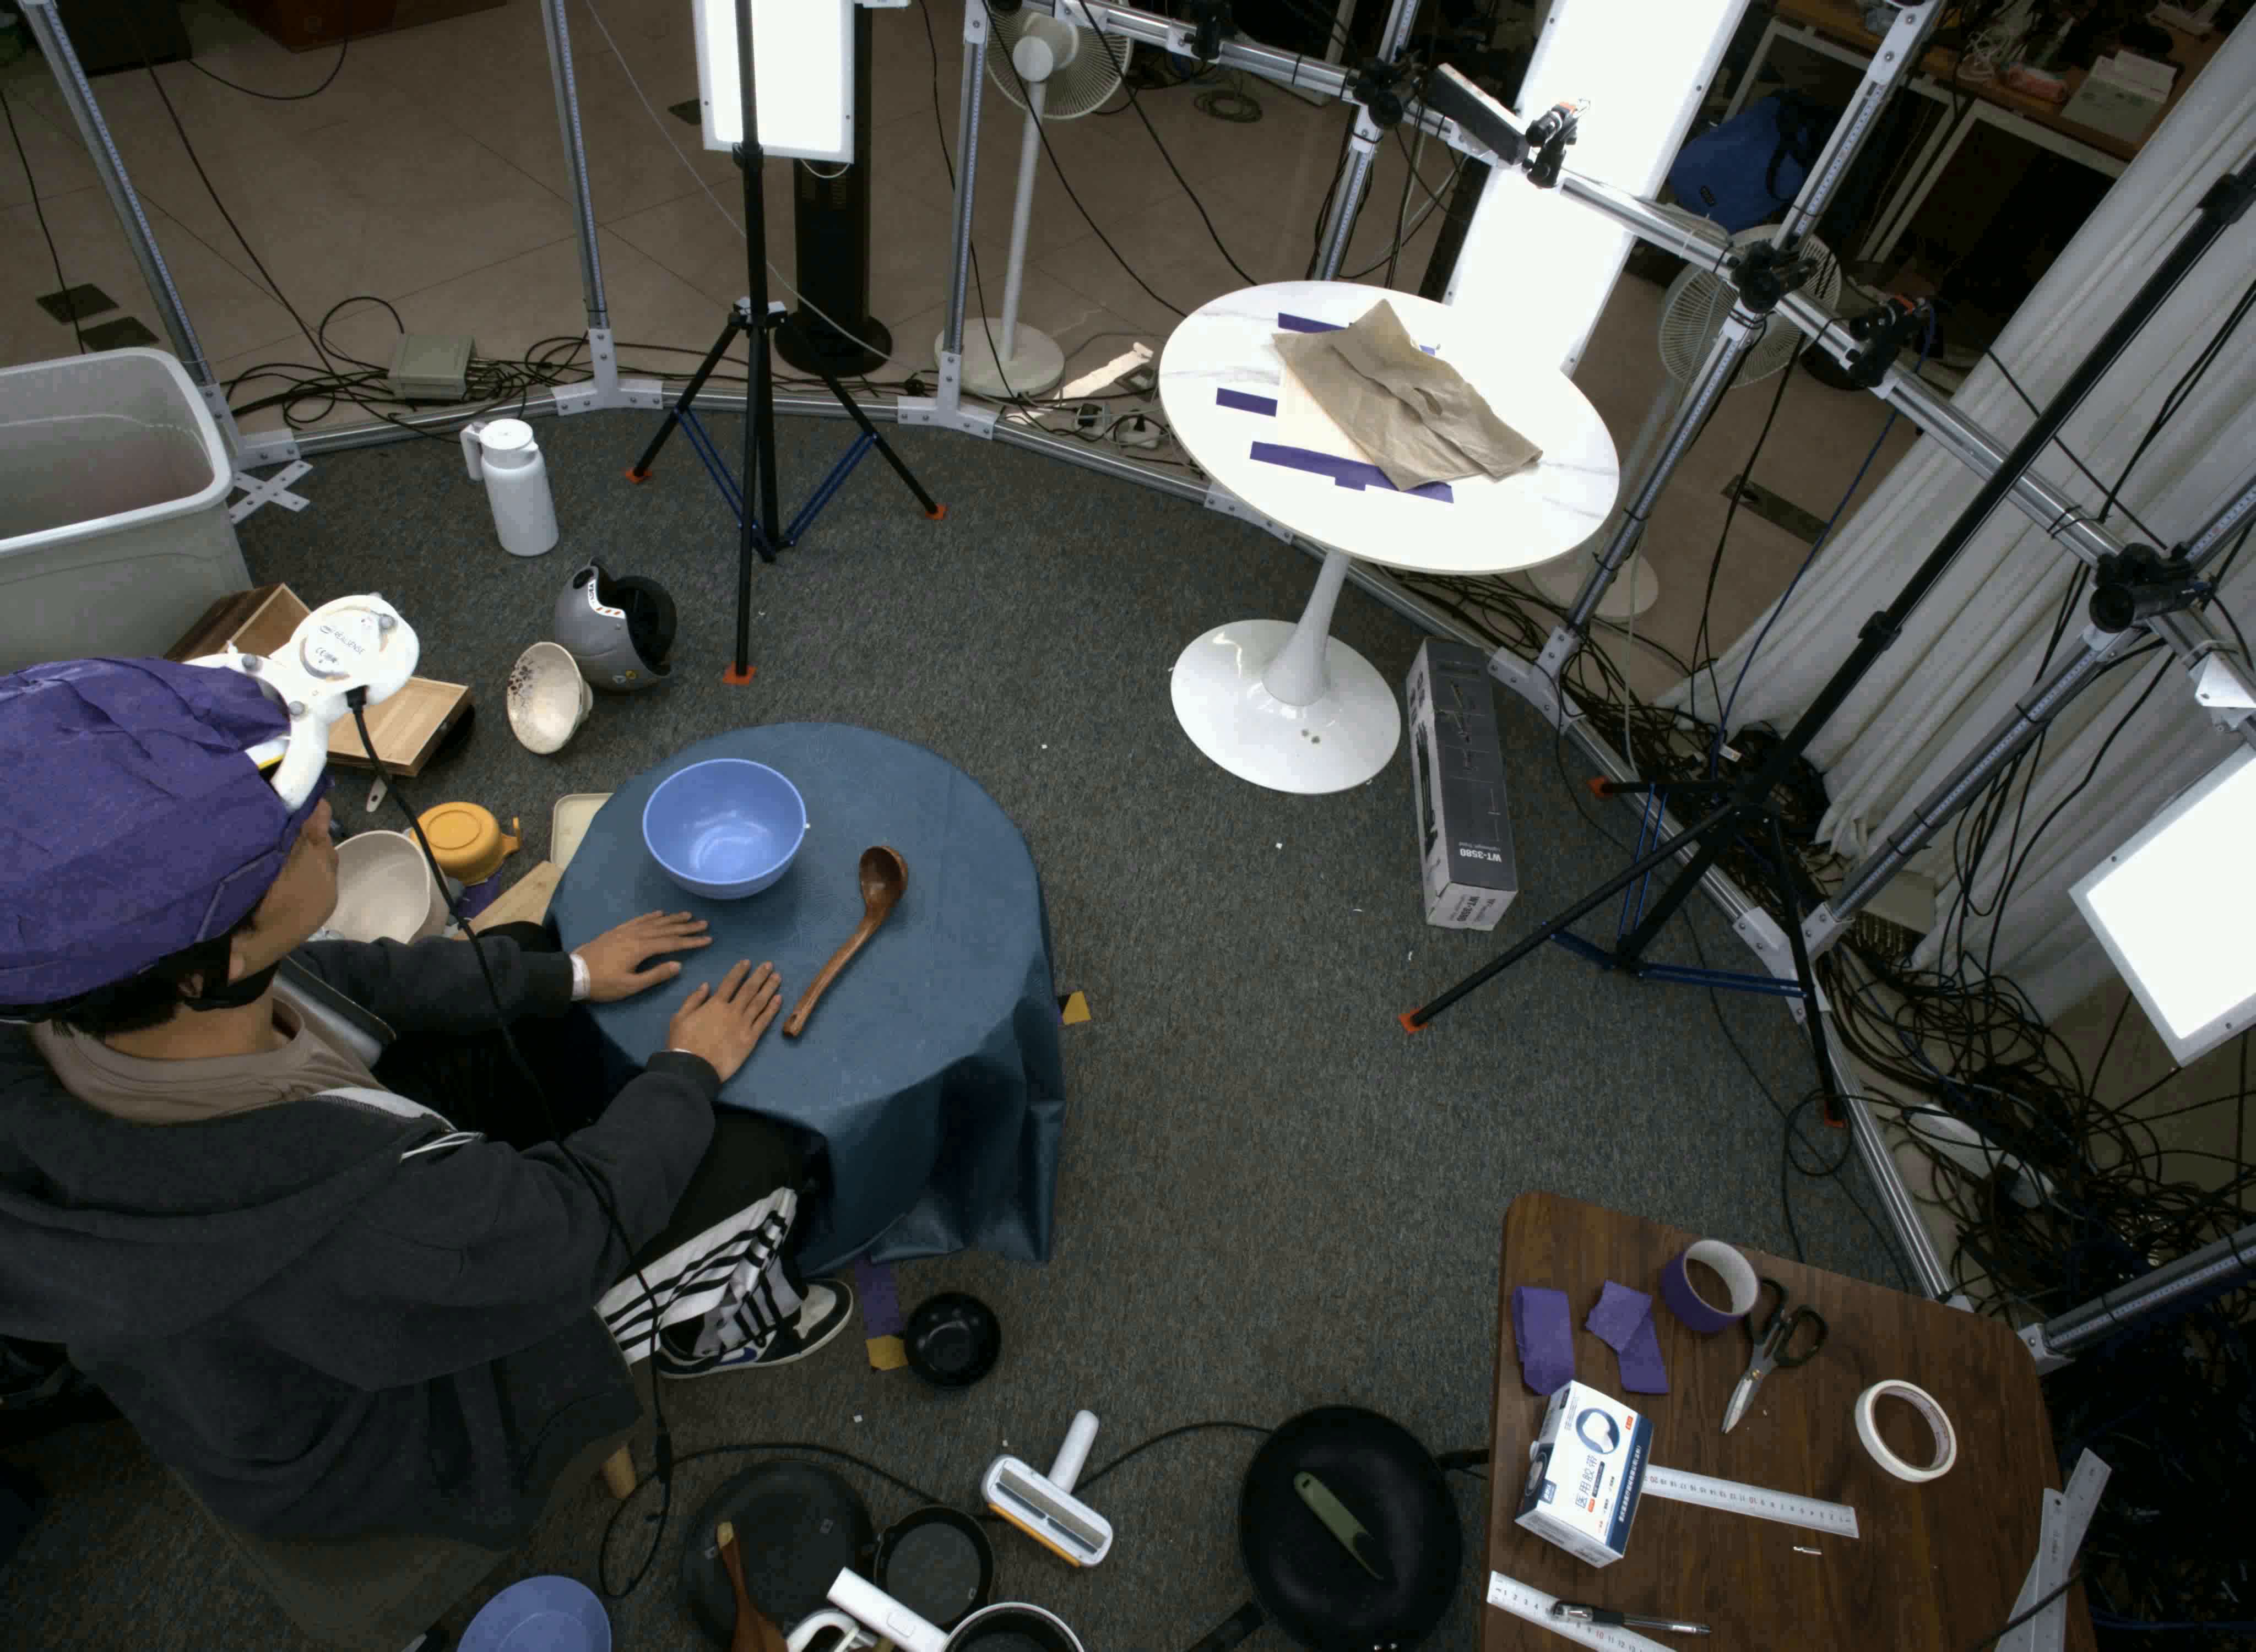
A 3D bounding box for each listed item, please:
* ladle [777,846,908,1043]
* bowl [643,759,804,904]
[{"bbox_3d":[-0.360,0.136,1.598,0.079,0.079,0.273,-1,41,38],"label":"ladle"},{"bbox_3d":[-0.507,0.021,1.631,0.196,0.097,0.193,8,53,-8],"label":"bowl"}]
